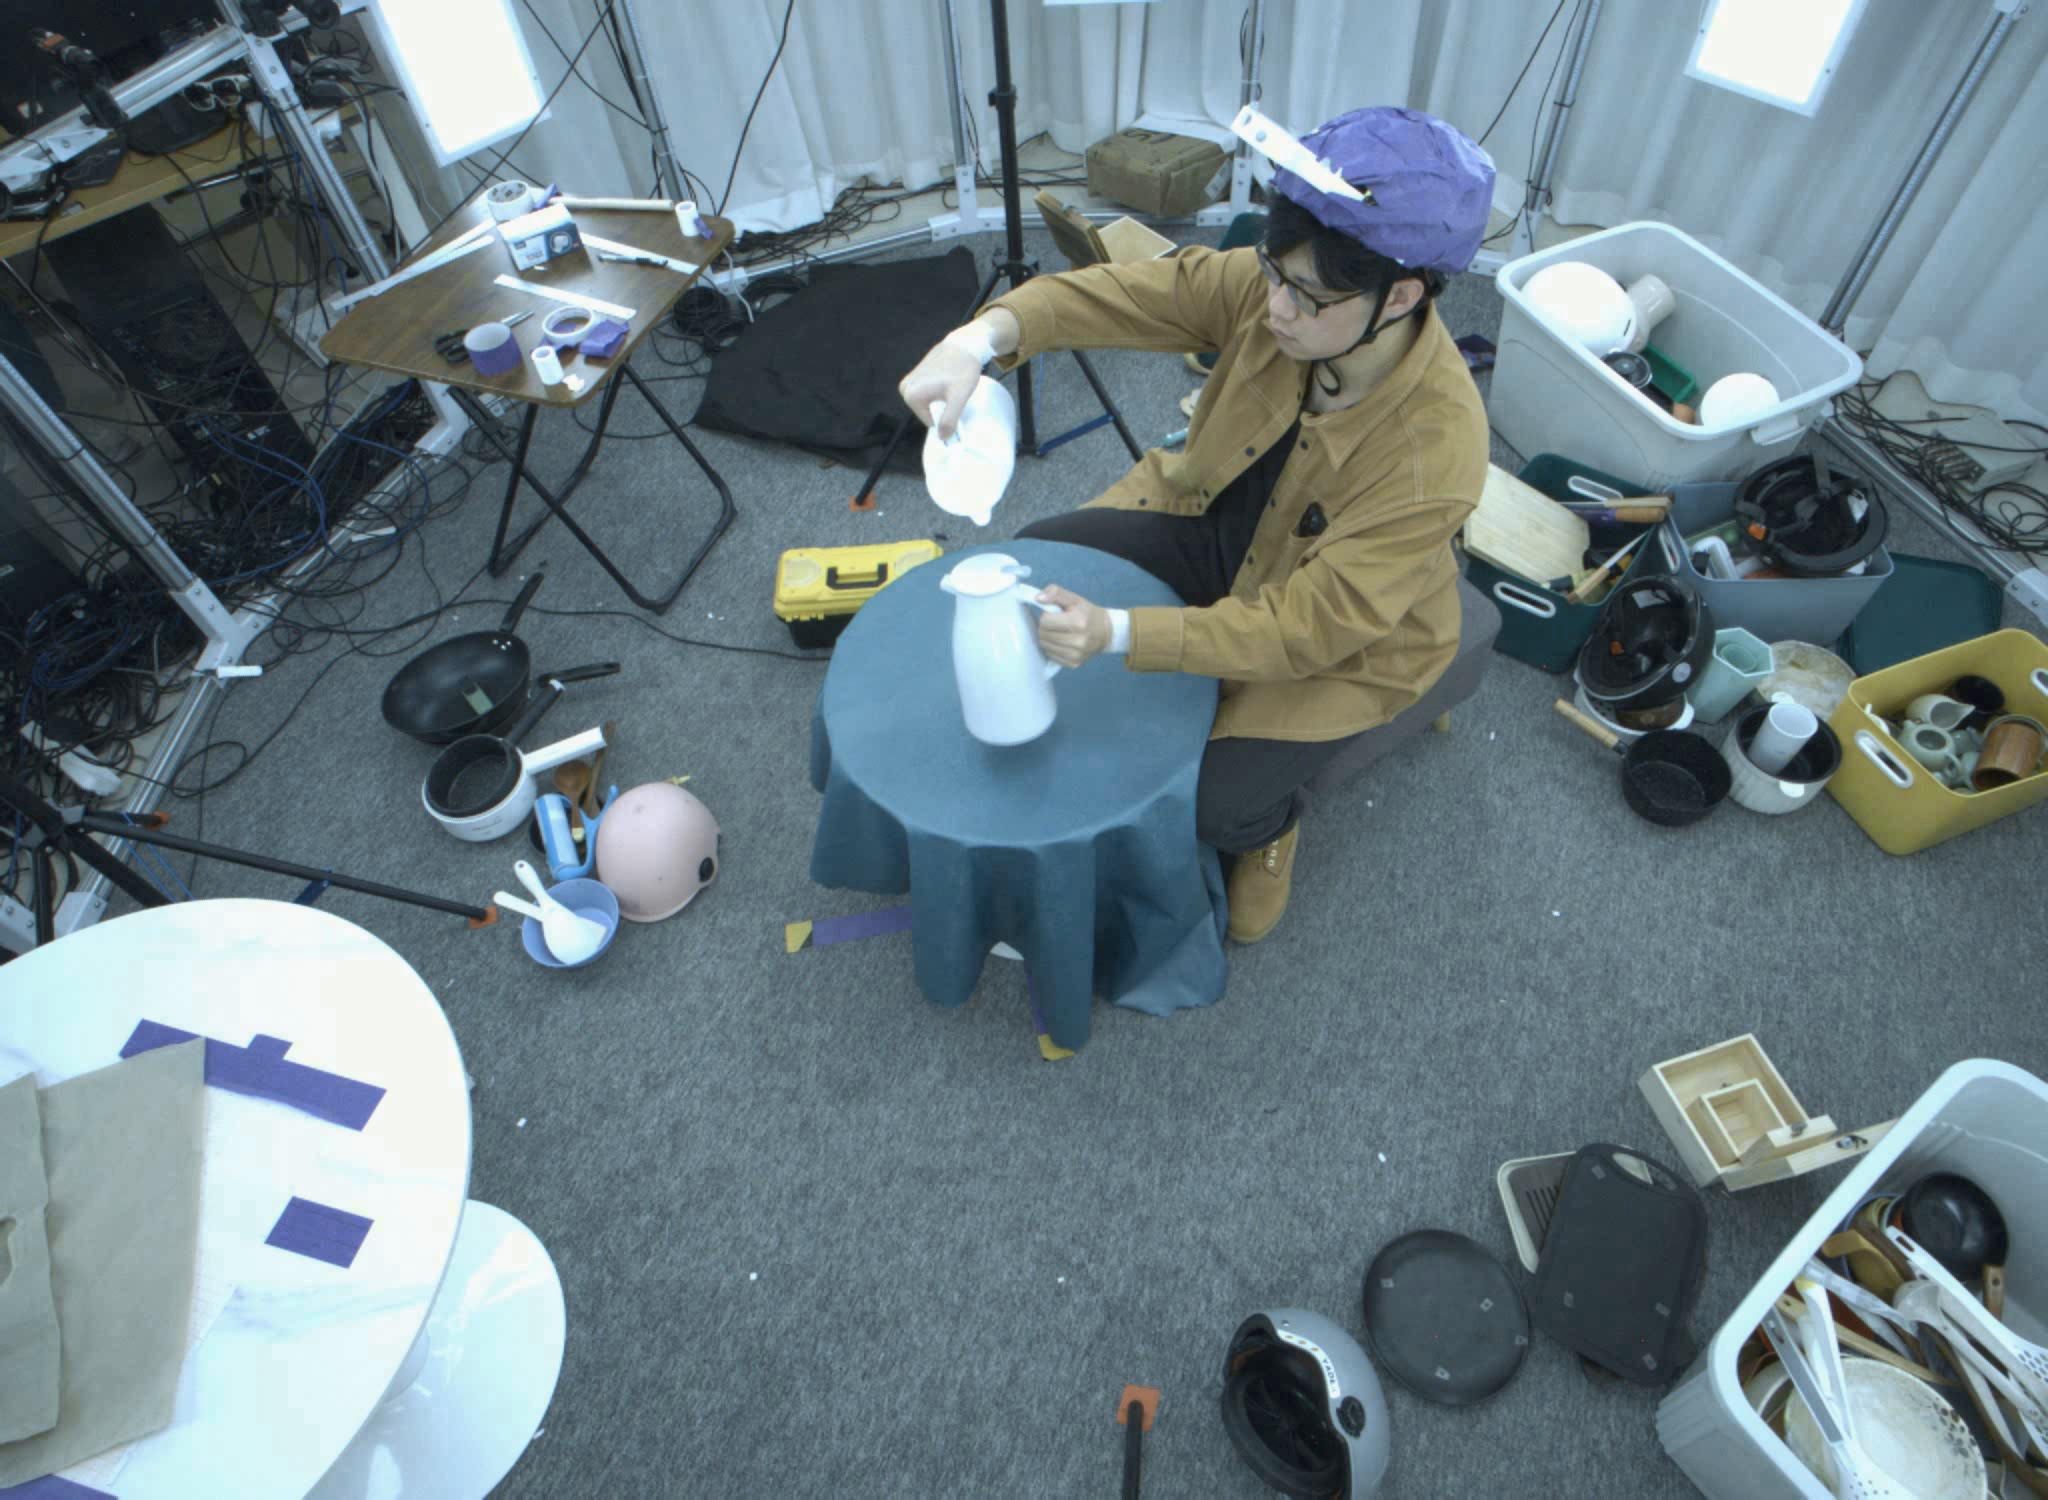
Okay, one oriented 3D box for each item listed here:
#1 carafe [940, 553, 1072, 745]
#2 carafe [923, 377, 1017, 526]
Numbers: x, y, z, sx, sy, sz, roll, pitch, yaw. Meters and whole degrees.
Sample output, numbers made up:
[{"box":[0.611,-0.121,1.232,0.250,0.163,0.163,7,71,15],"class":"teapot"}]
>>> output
[{"box":[-0.016,-0.140,1.638,0.166,0.252,0.132,6,45,15],"class":"carafe"},{"box":[-0.079,-0.416,1.588,0.123,0.175,0.266,-14,31,12],"class":"carafe"}]
